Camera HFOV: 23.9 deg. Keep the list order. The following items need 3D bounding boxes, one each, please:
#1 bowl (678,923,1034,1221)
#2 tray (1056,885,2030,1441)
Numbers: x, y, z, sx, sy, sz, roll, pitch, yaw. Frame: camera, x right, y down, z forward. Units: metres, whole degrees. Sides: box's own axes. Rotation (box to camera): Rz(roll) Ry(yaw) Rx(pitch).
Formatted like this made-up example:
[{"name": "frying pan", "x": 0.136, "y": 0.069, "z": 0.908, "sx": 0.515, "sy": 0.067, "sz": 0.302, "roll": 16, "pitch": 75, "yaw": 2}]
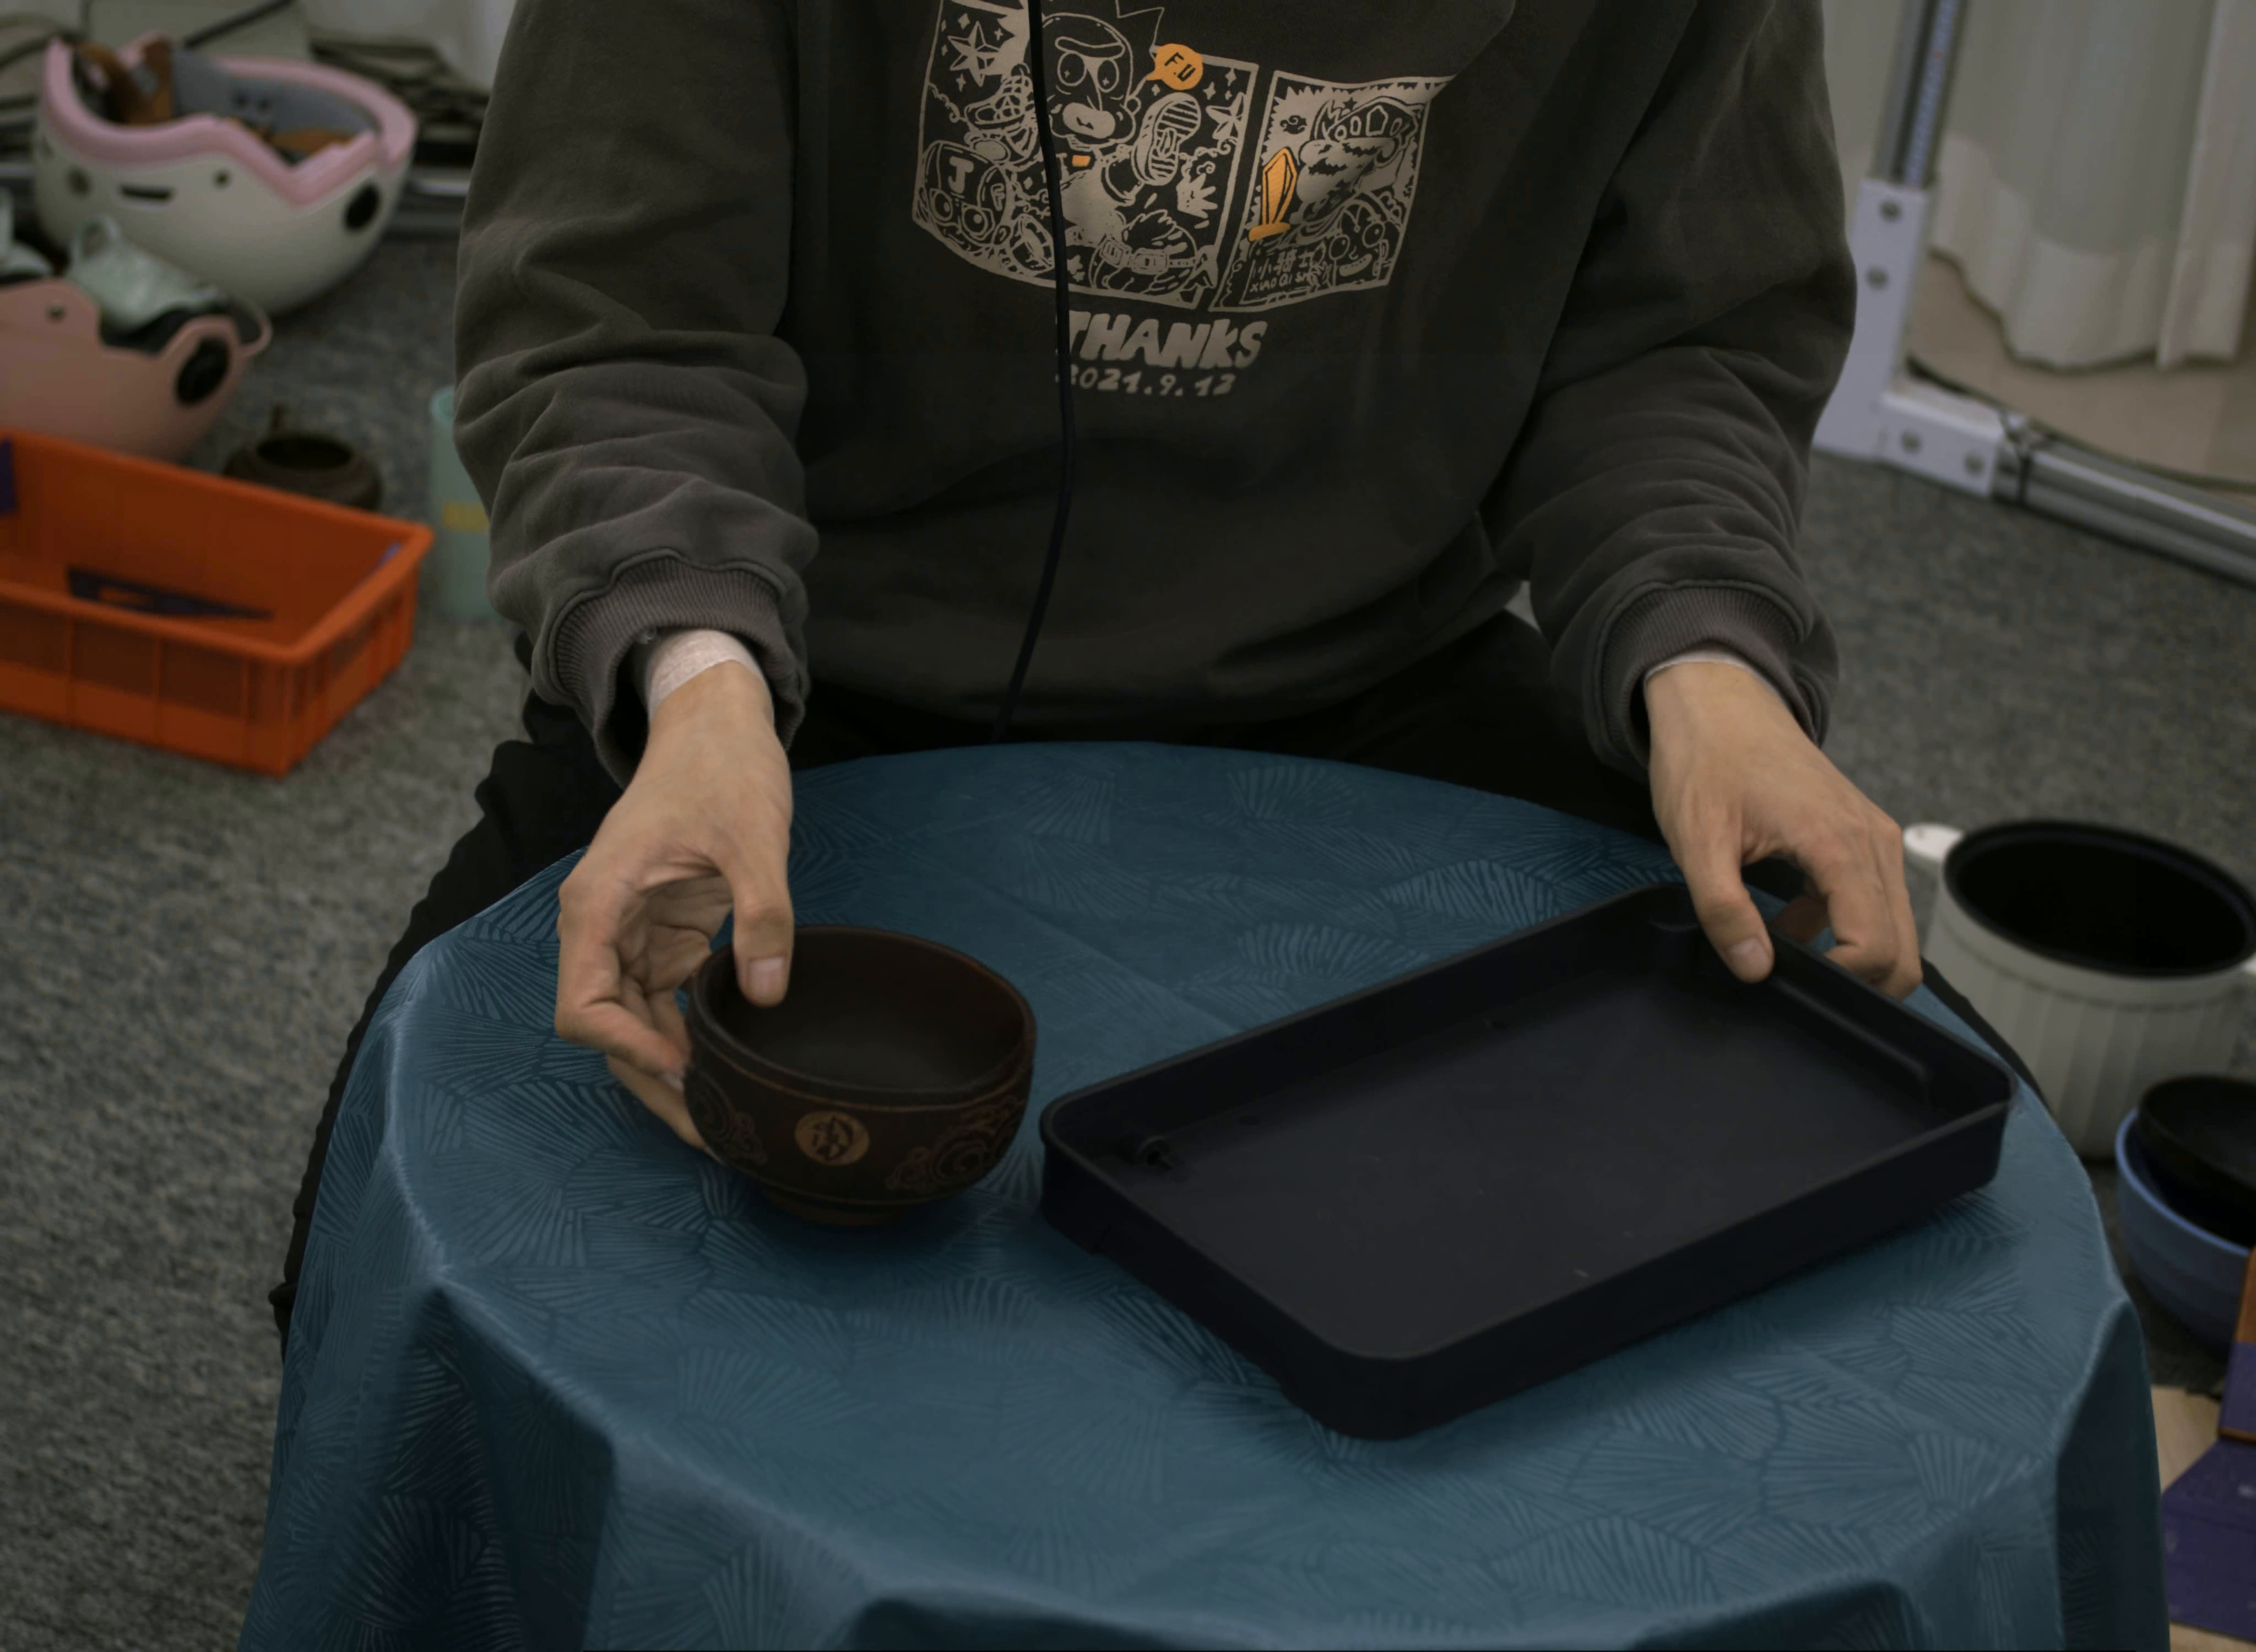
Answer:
[{"name": "bowl", "x": -0.093, "y": 0.088, "z": 1.771, "sx": 0.117, "sy": 0.069, "sz": 0.118, "roll": 7, "pitch": 24, "yaw": -4}, {"name": "tray", "x": 0.143, "y": 0.108, "z": 1.818, "sx": 0.316, "sy": 0.037, "sz": 0.186, "roll": -19, "pitch": 35, "yaw": -37}]
